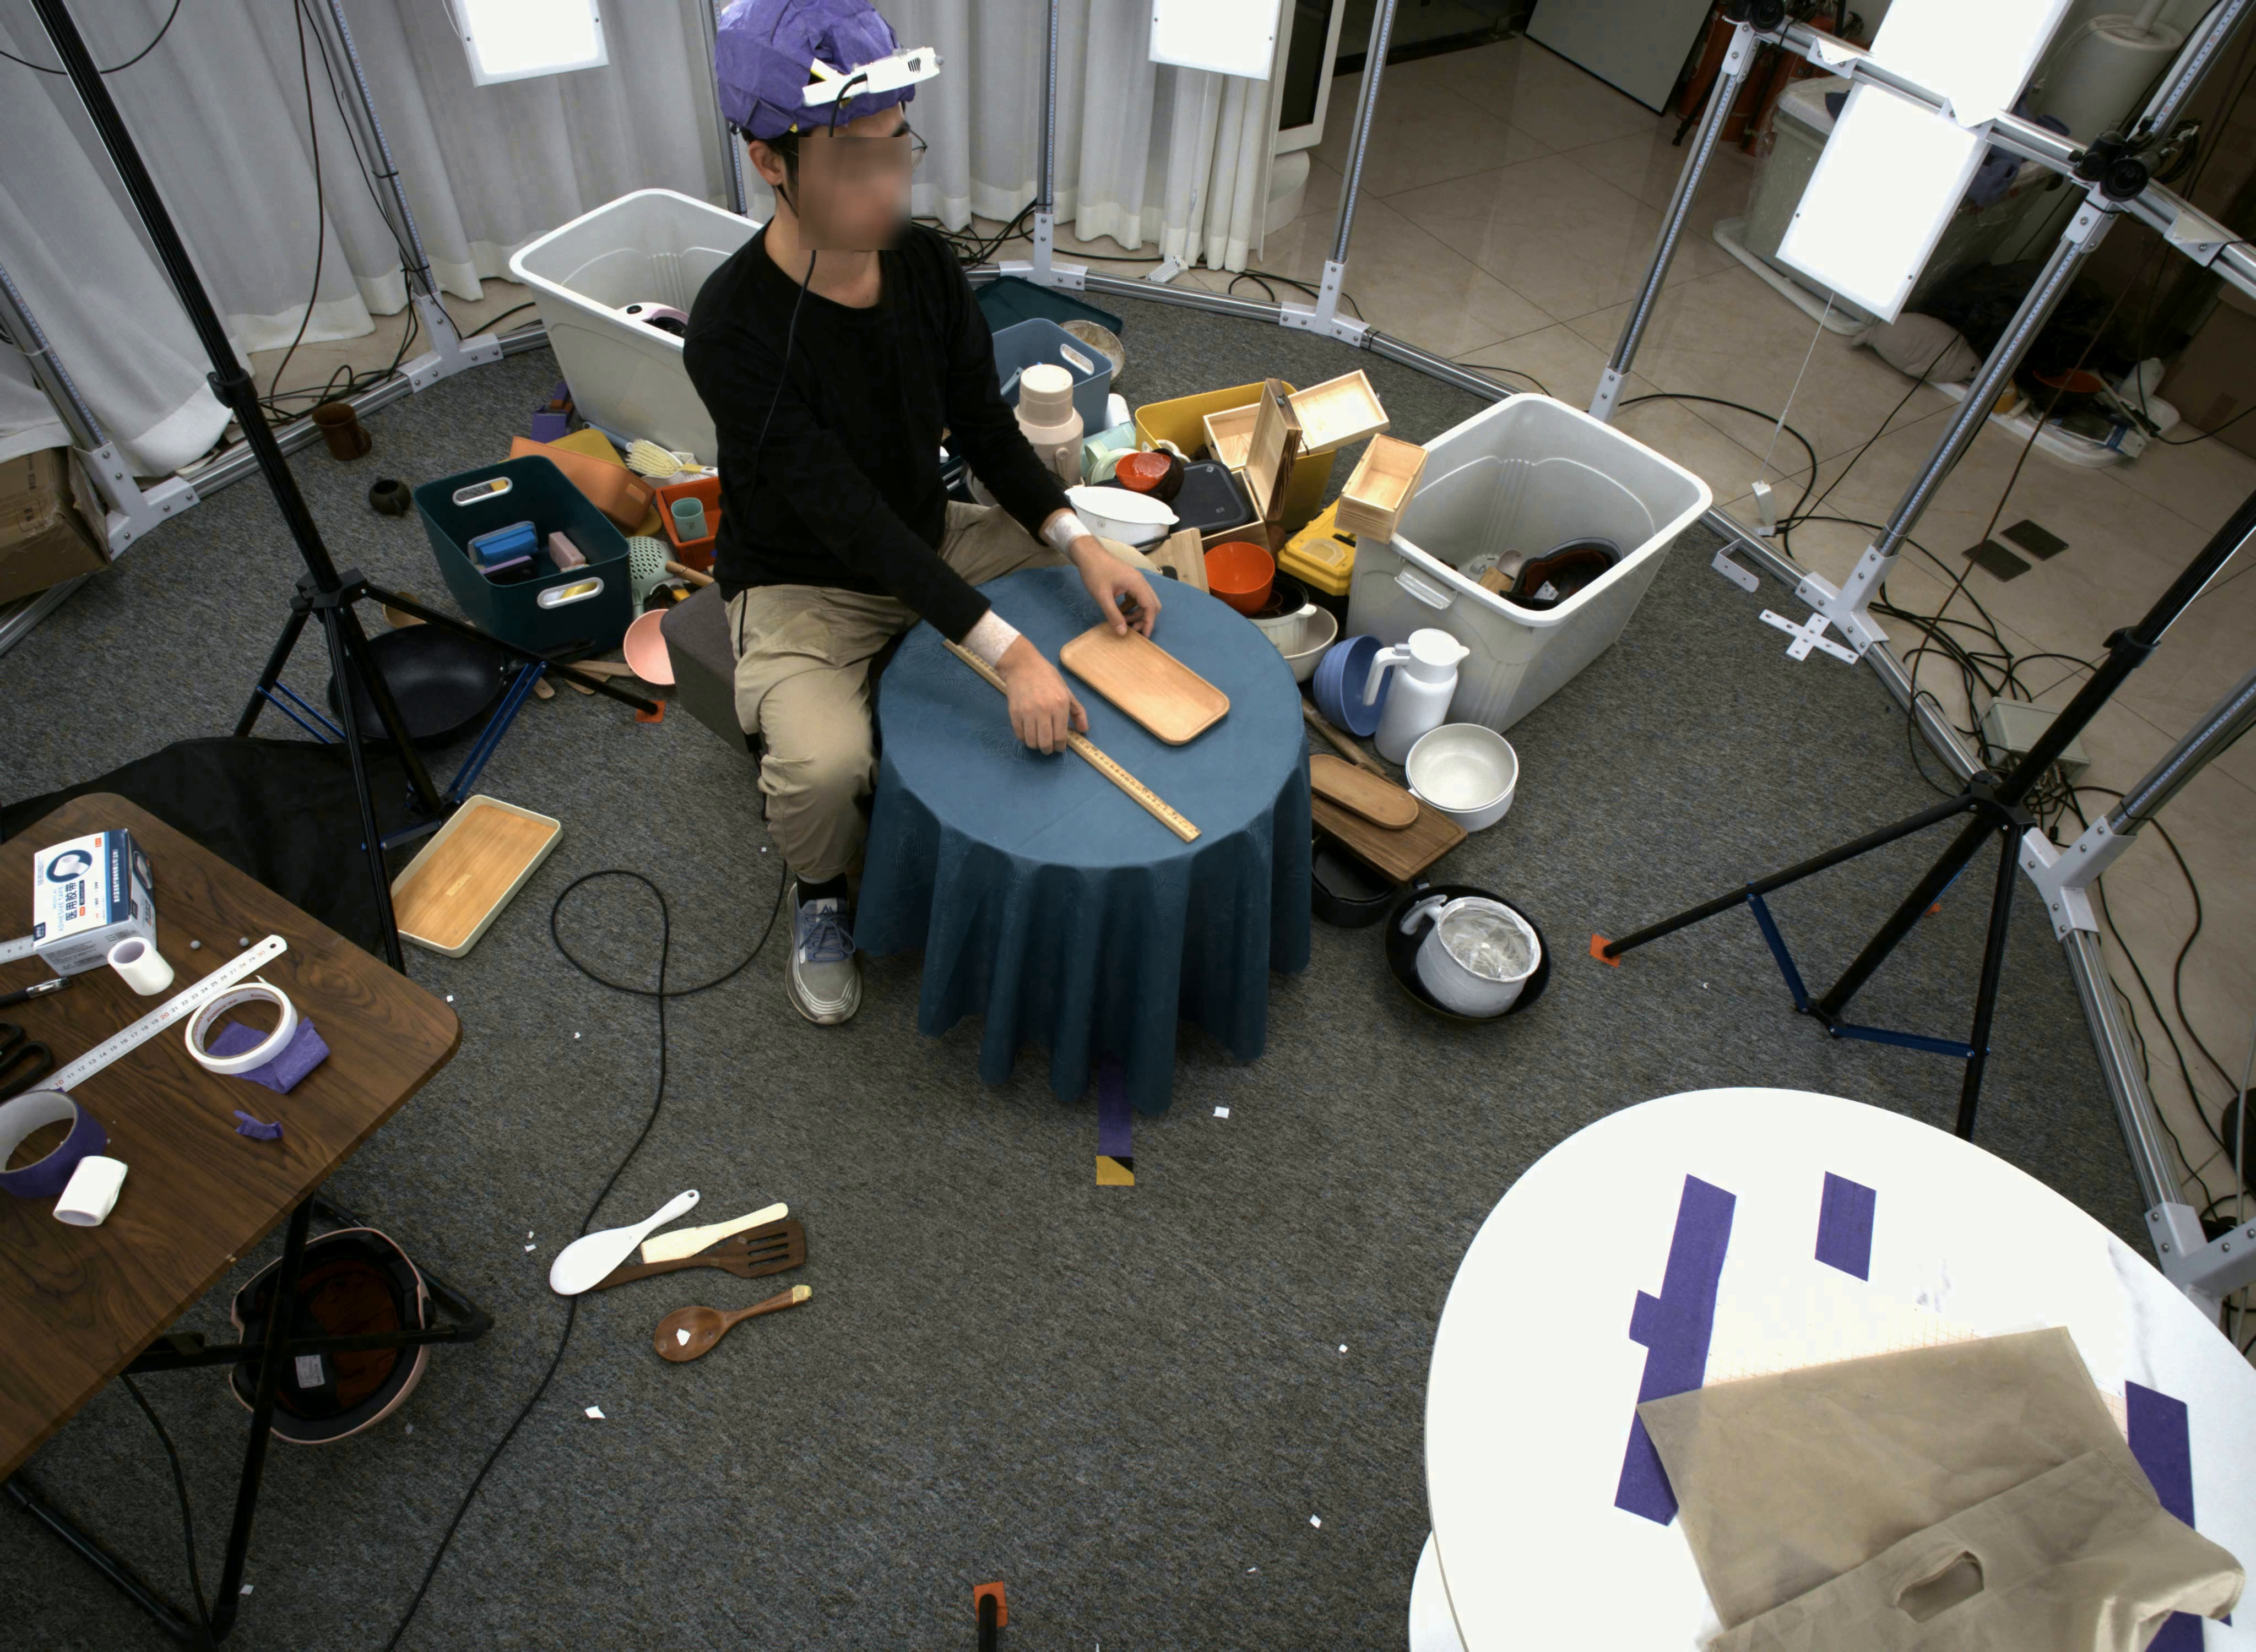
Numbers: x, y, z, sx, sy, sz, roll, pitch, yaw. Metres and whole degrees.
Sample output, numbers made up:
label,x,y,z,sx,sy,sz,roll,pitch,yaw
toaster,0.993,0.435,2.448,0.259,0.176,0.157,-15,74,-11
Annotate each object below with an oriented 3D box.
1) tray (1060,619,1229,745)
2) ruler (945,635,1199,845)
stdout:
label,x,y,z,sx,sy,sz,roll,pitch,yaw
tray,0.022,-0.209,1.842,0.131,0.022,0.255,-33,58,-30
ruler,-0.086,-0.129,1.773,0.027,0.006,0.508,-32,58,-30
